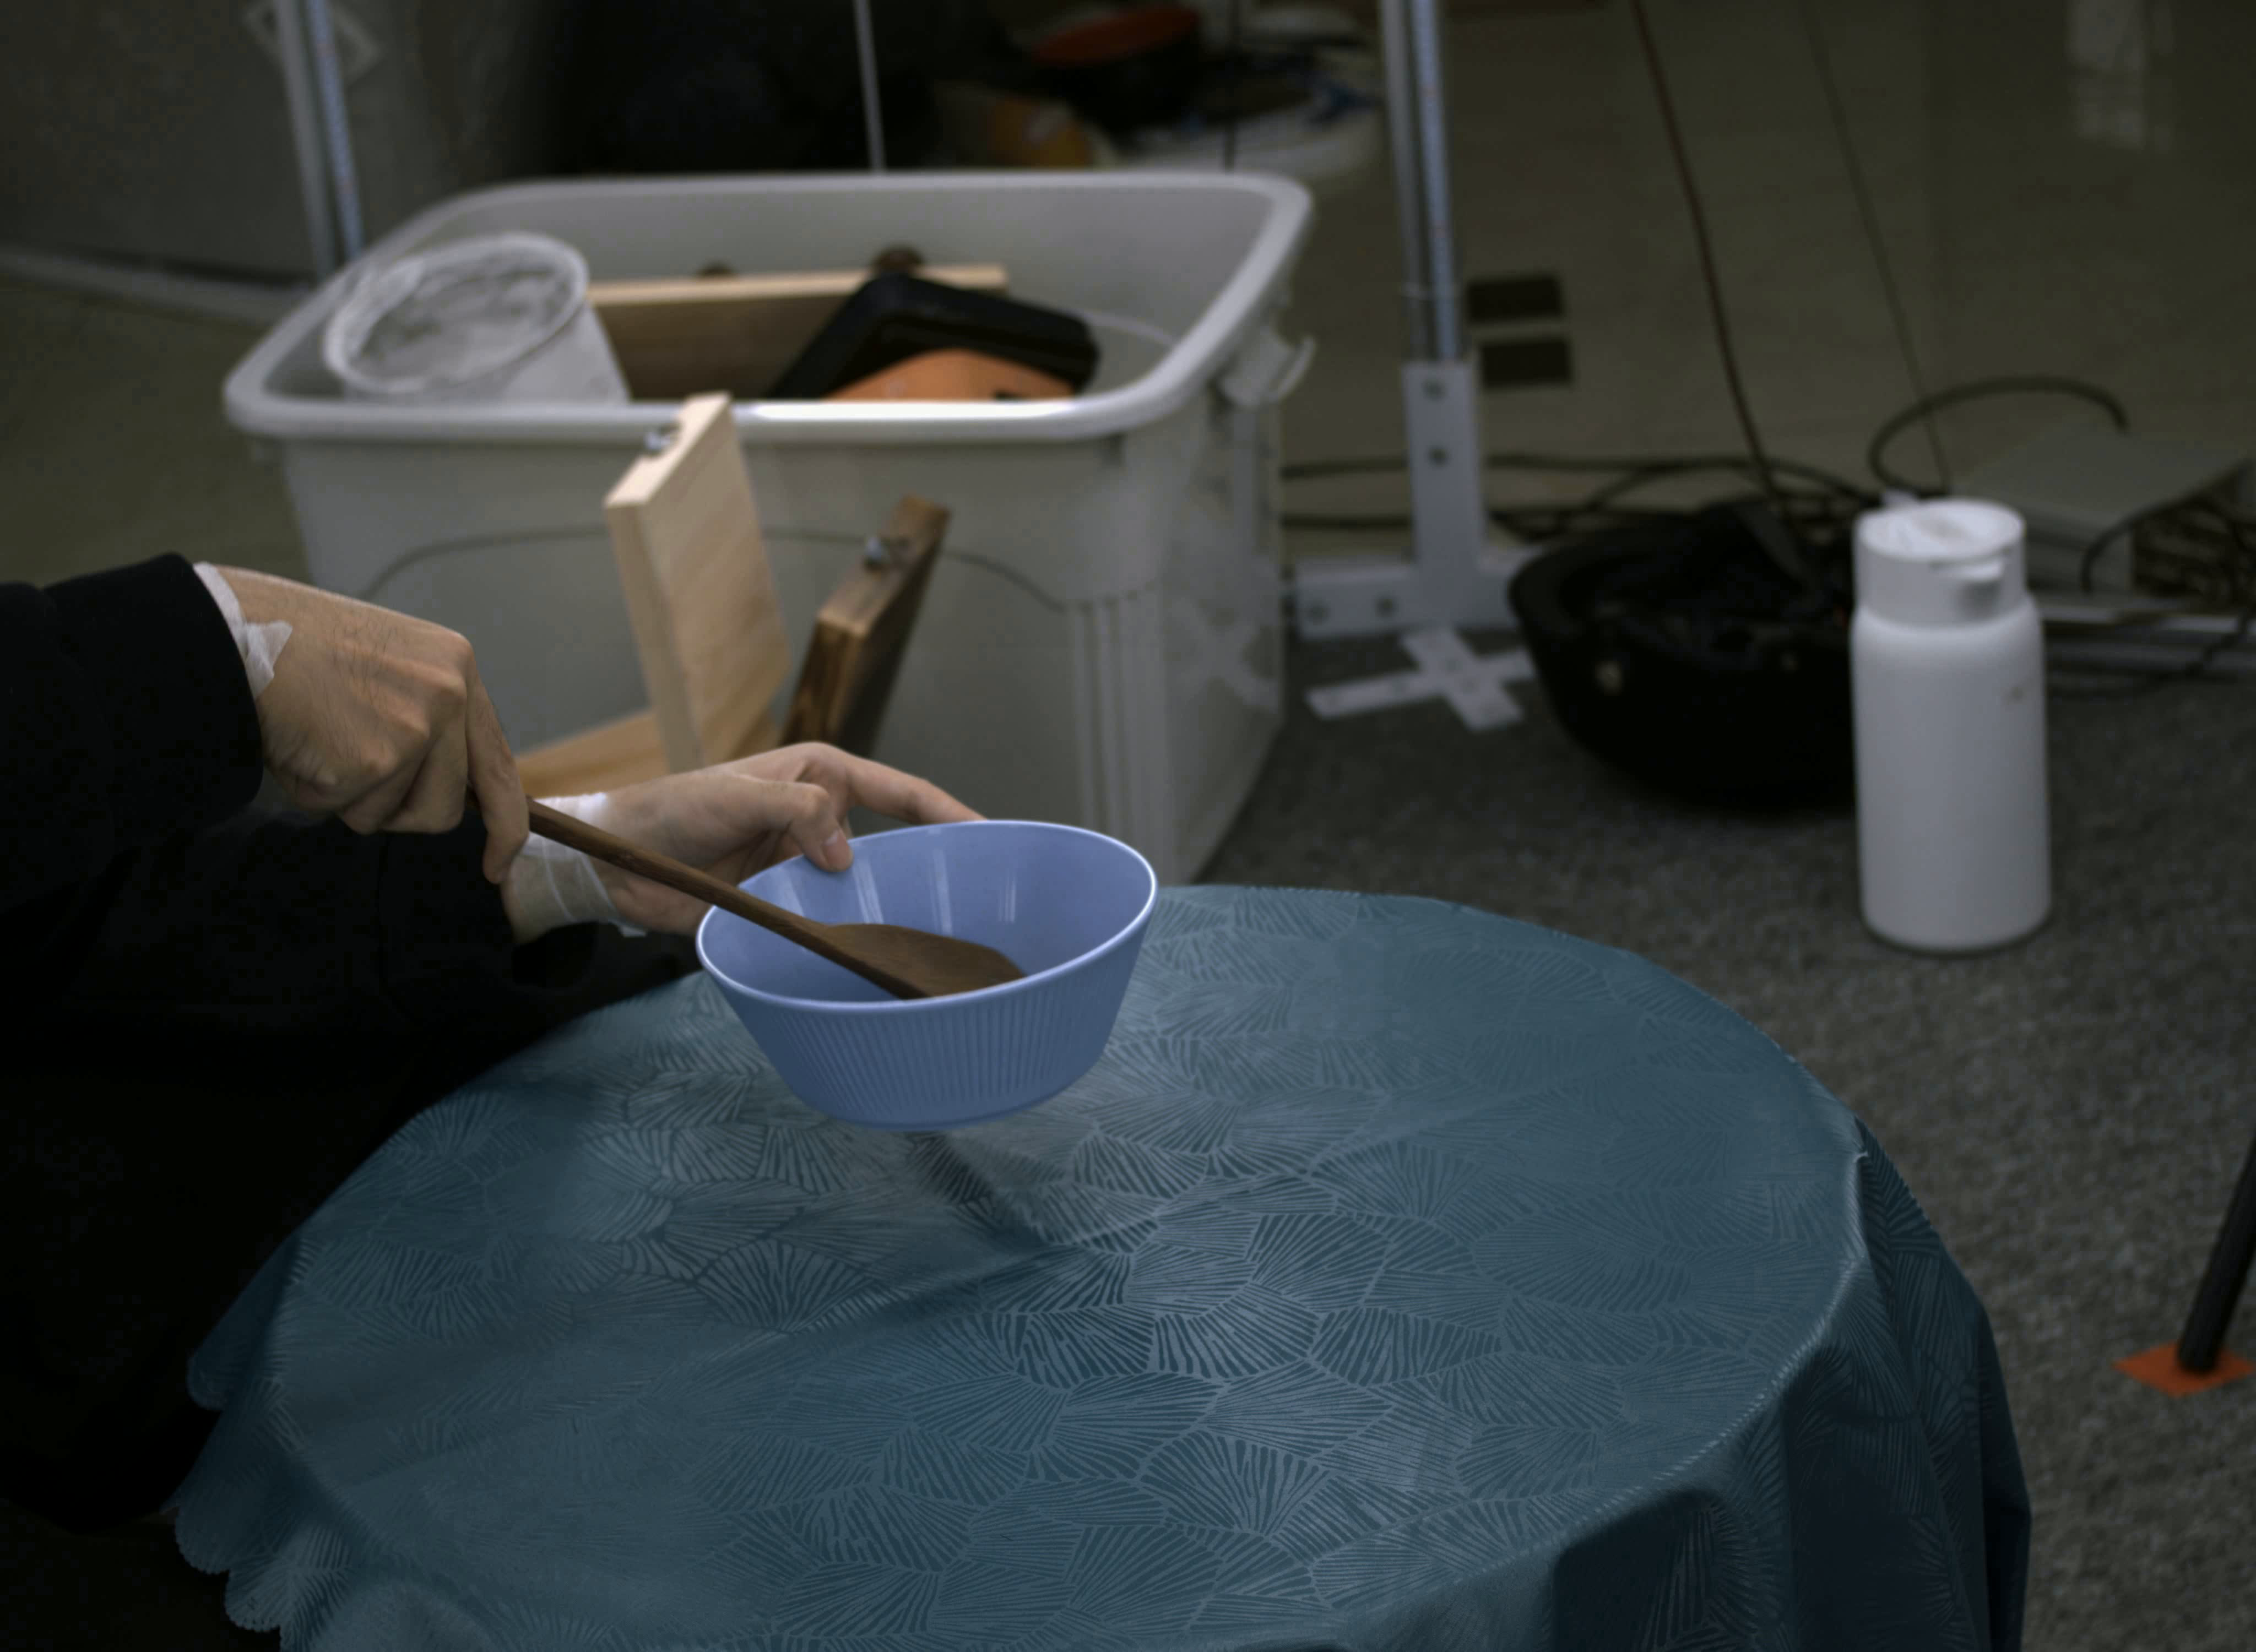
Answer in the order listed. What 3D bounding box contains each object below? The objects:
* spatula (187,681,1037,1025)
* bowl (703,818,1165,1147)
[{"bbox_3d":[-0.175,0.014,2.066,0.388,0.016,0.095,23,11,-34],"label":"spatula"},{"bbox_3d":[-0.070,0.065,2.143,0.176,0.071,0.173,-6,27,3],"label":"bowl"}]
